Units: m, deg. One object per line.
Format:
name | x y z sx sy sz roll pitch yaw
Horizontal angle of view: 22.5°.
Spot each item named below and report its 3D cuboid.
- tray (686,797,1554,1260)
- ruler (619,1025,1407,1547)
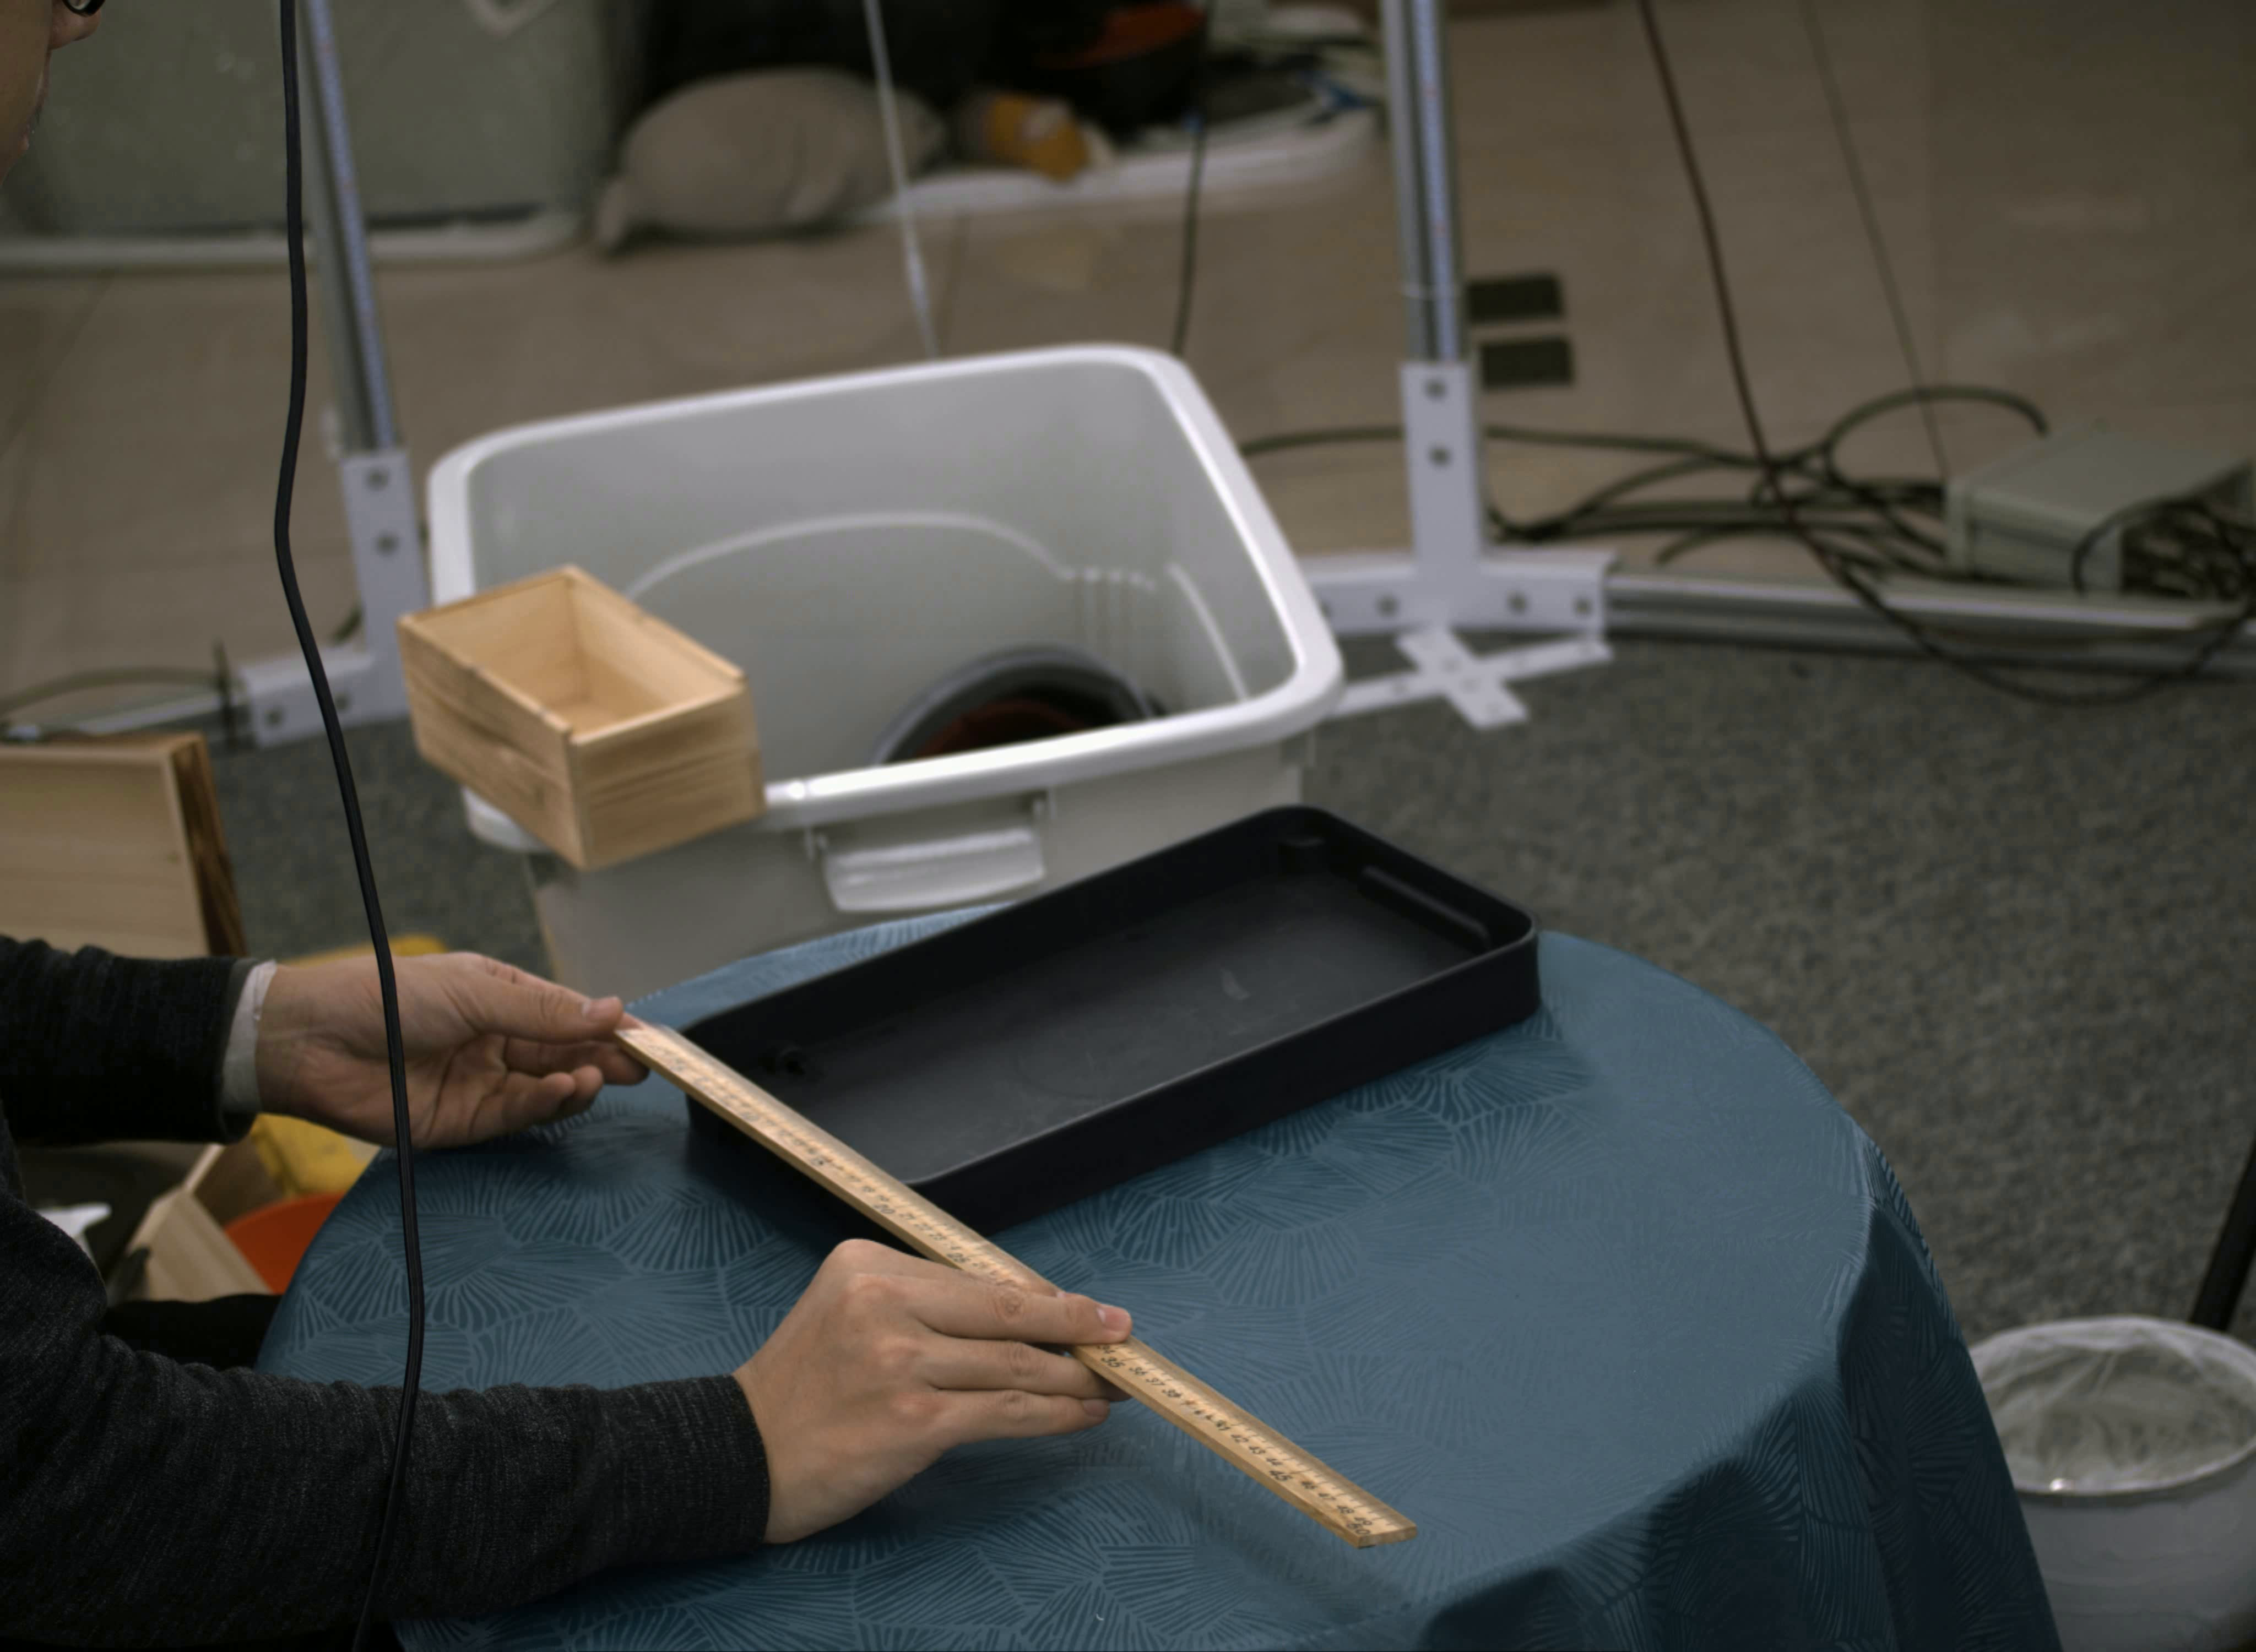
tray | -0.002 0.075 2.243 0.316 0.037 0.182 -22 28 -28
ruler | -0.055 0.156 2.033 0.027 0.006 0.495 -8 22 -33
